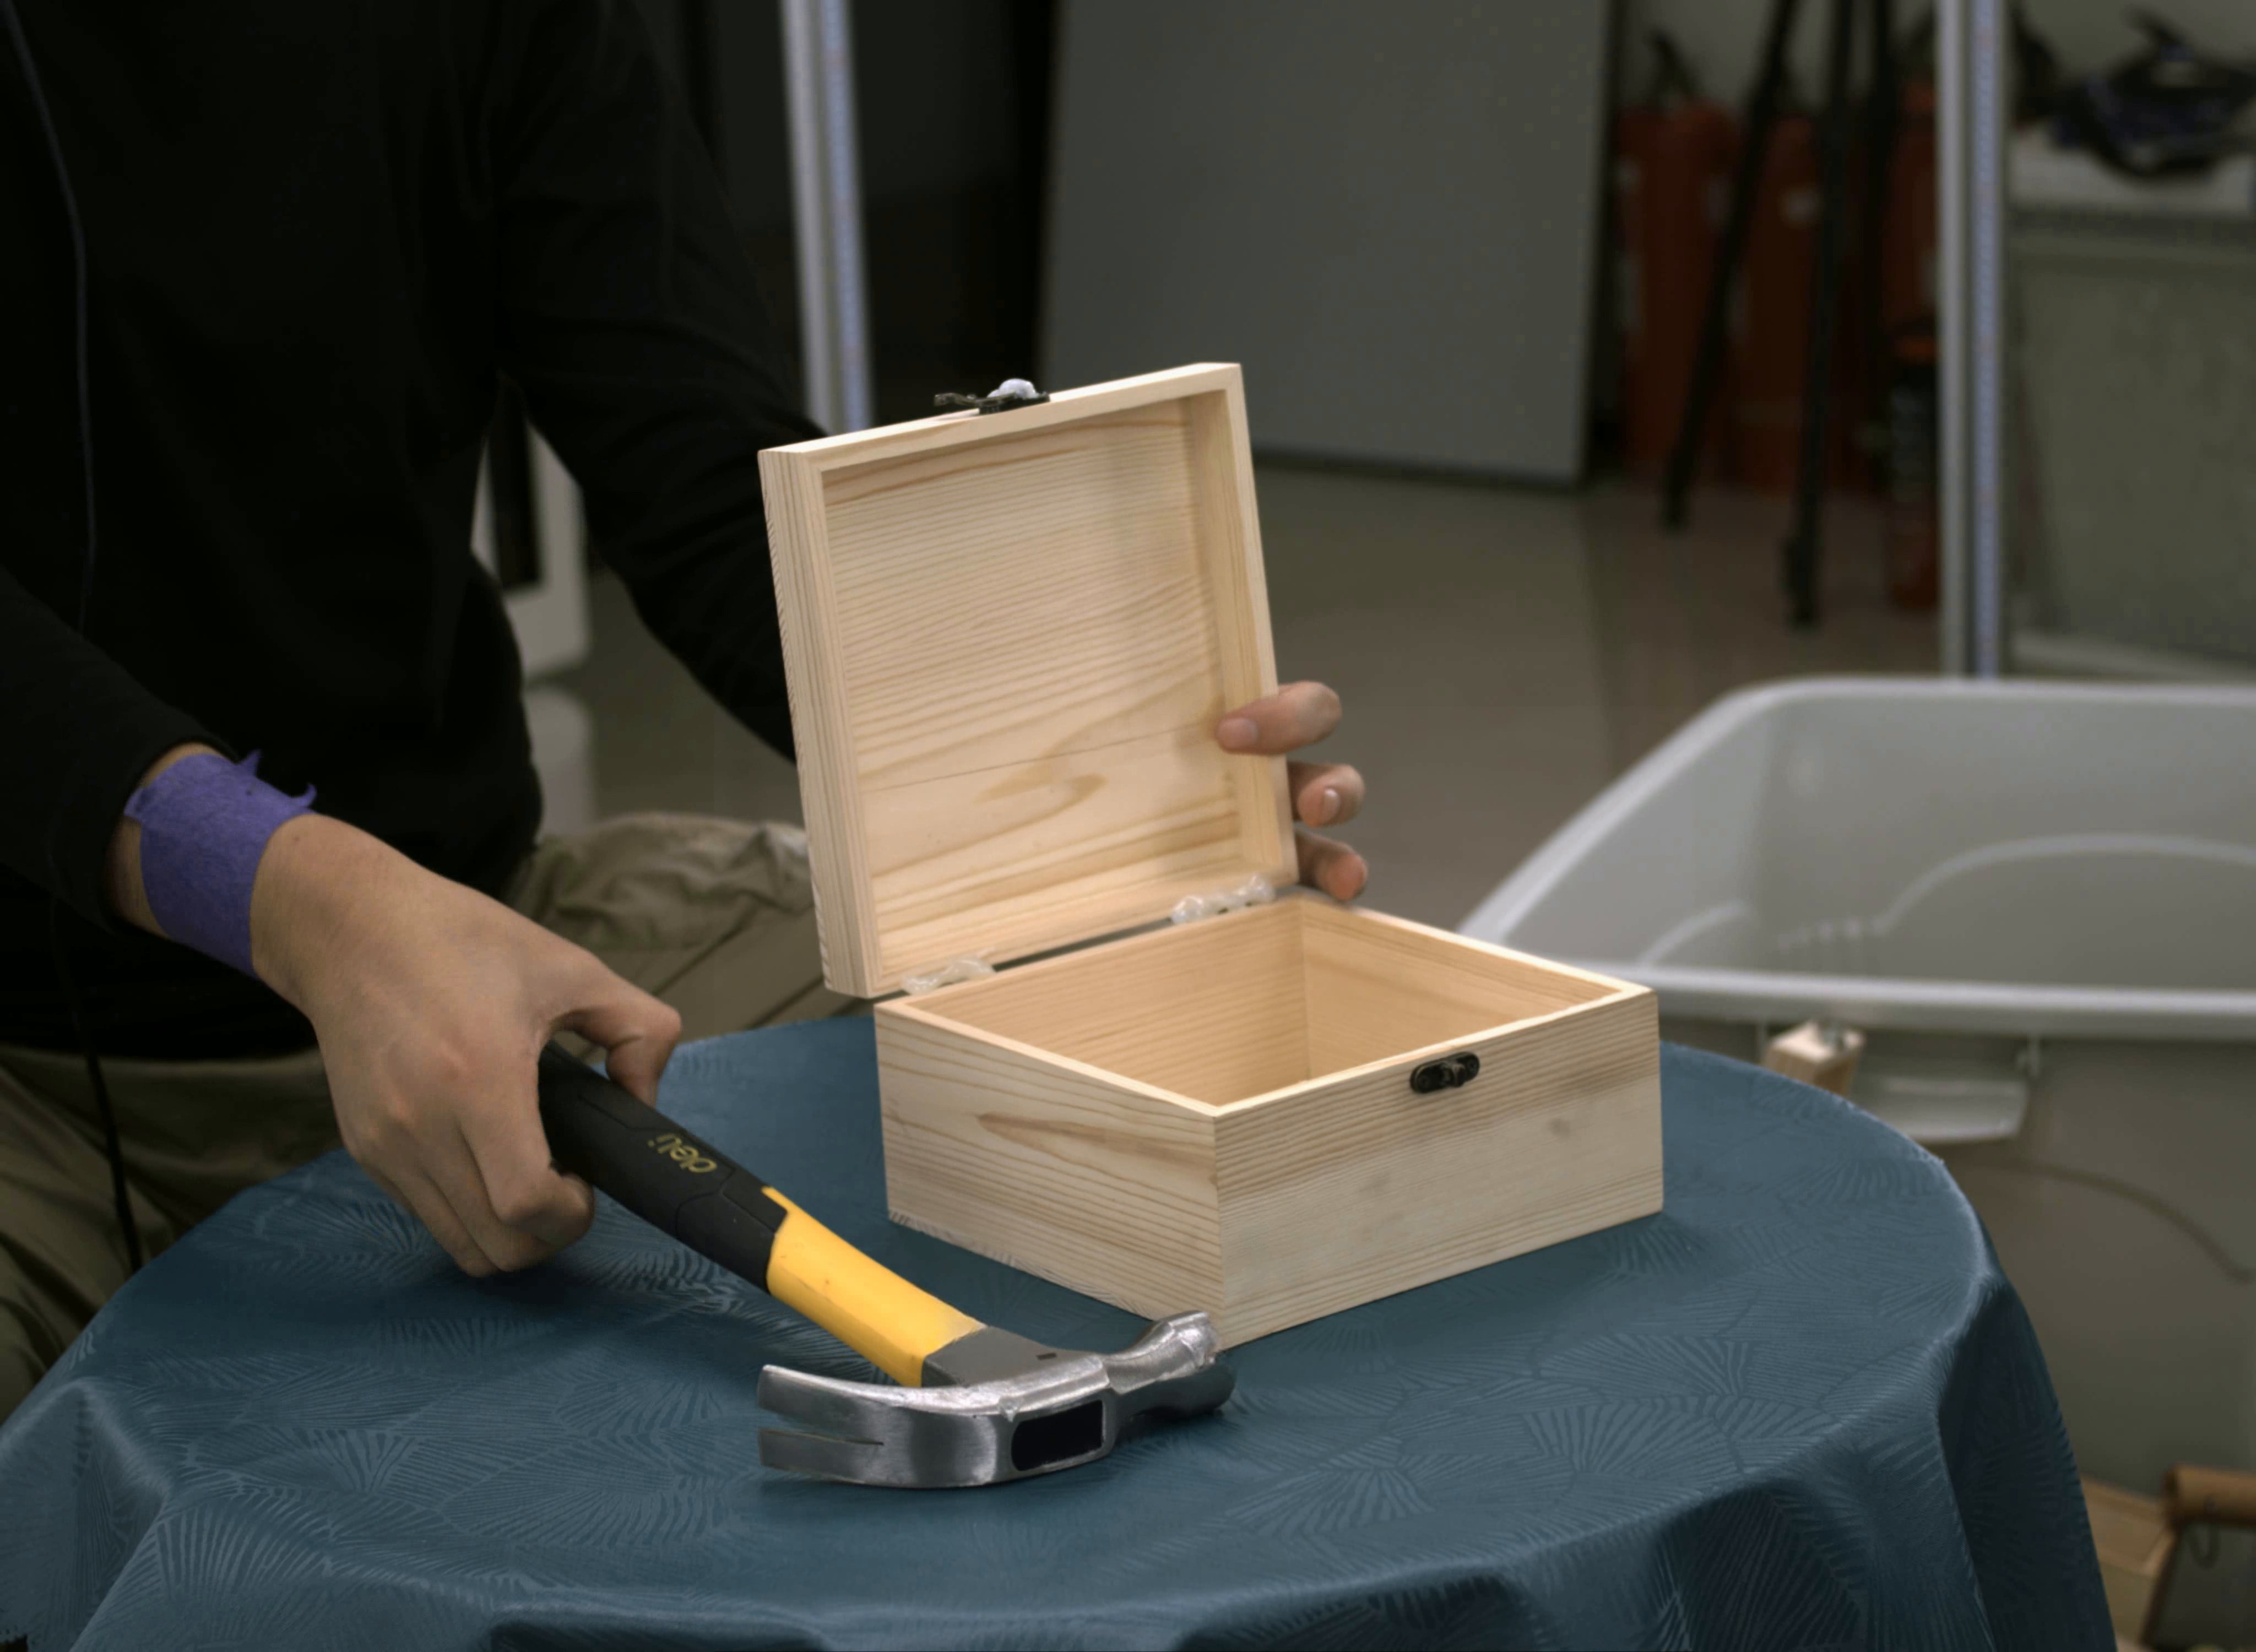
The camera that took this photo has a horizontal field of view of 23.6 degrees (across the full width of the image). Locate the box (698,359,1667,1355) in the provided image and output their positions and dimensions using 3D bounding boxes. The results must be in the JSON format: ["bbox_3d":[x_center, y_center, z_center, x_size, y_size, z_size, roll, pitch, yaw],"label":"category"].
[{"bbox_3d":[0.018,0.000,1.736,0.178,0.256,0.268,-16,18,-34],"label":"box"}]

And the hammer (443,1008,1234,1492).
[{"bbox_3d":[-0.116,0.122,1.654,0.128,0.032,0.342,-14,25,-32],"label":"hammer"}]
